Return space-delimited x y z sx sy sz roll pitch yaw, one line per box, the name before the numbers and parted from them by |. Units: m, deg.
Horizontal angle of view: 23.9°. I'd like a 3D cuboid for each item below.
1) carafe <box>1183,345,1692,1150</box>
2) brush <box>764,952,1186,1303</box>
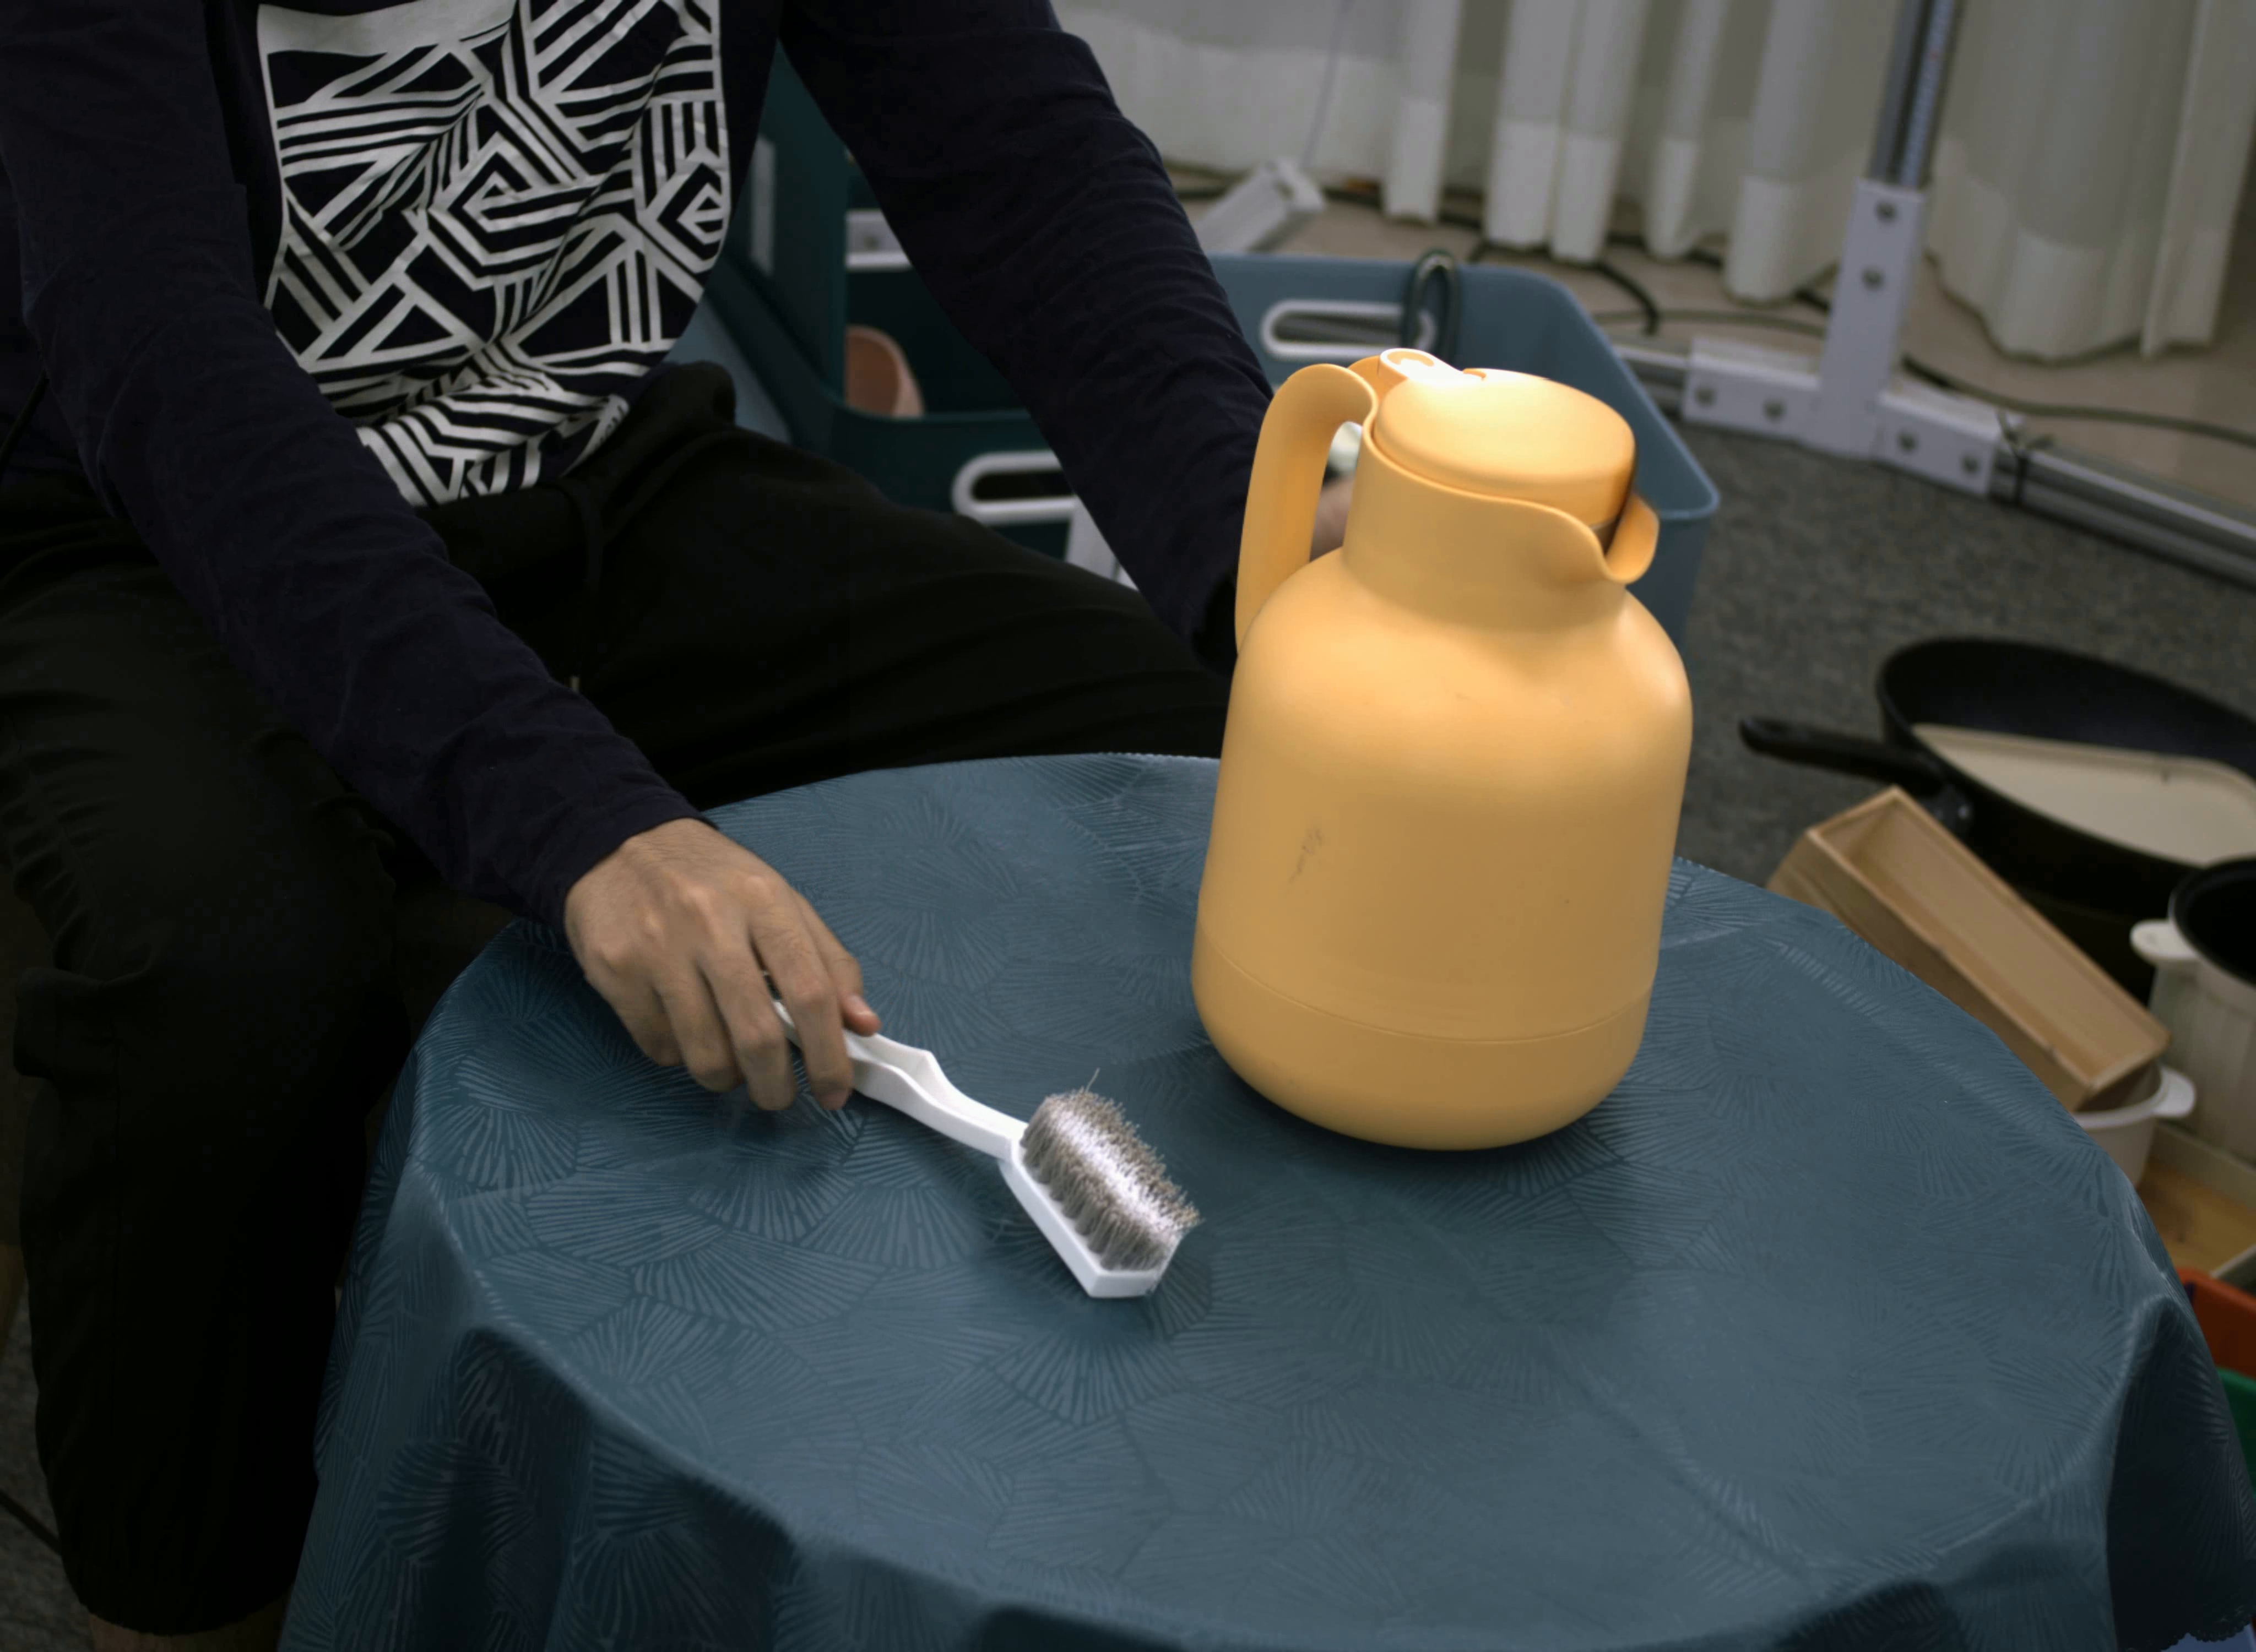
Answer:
carafe | 0.104 -0.037 1.858 0.162 0.260 0.204 -8 31 -32
brush | -0.058 0.085 1.815 0.034 0.050 0.246 -15 34 -29
